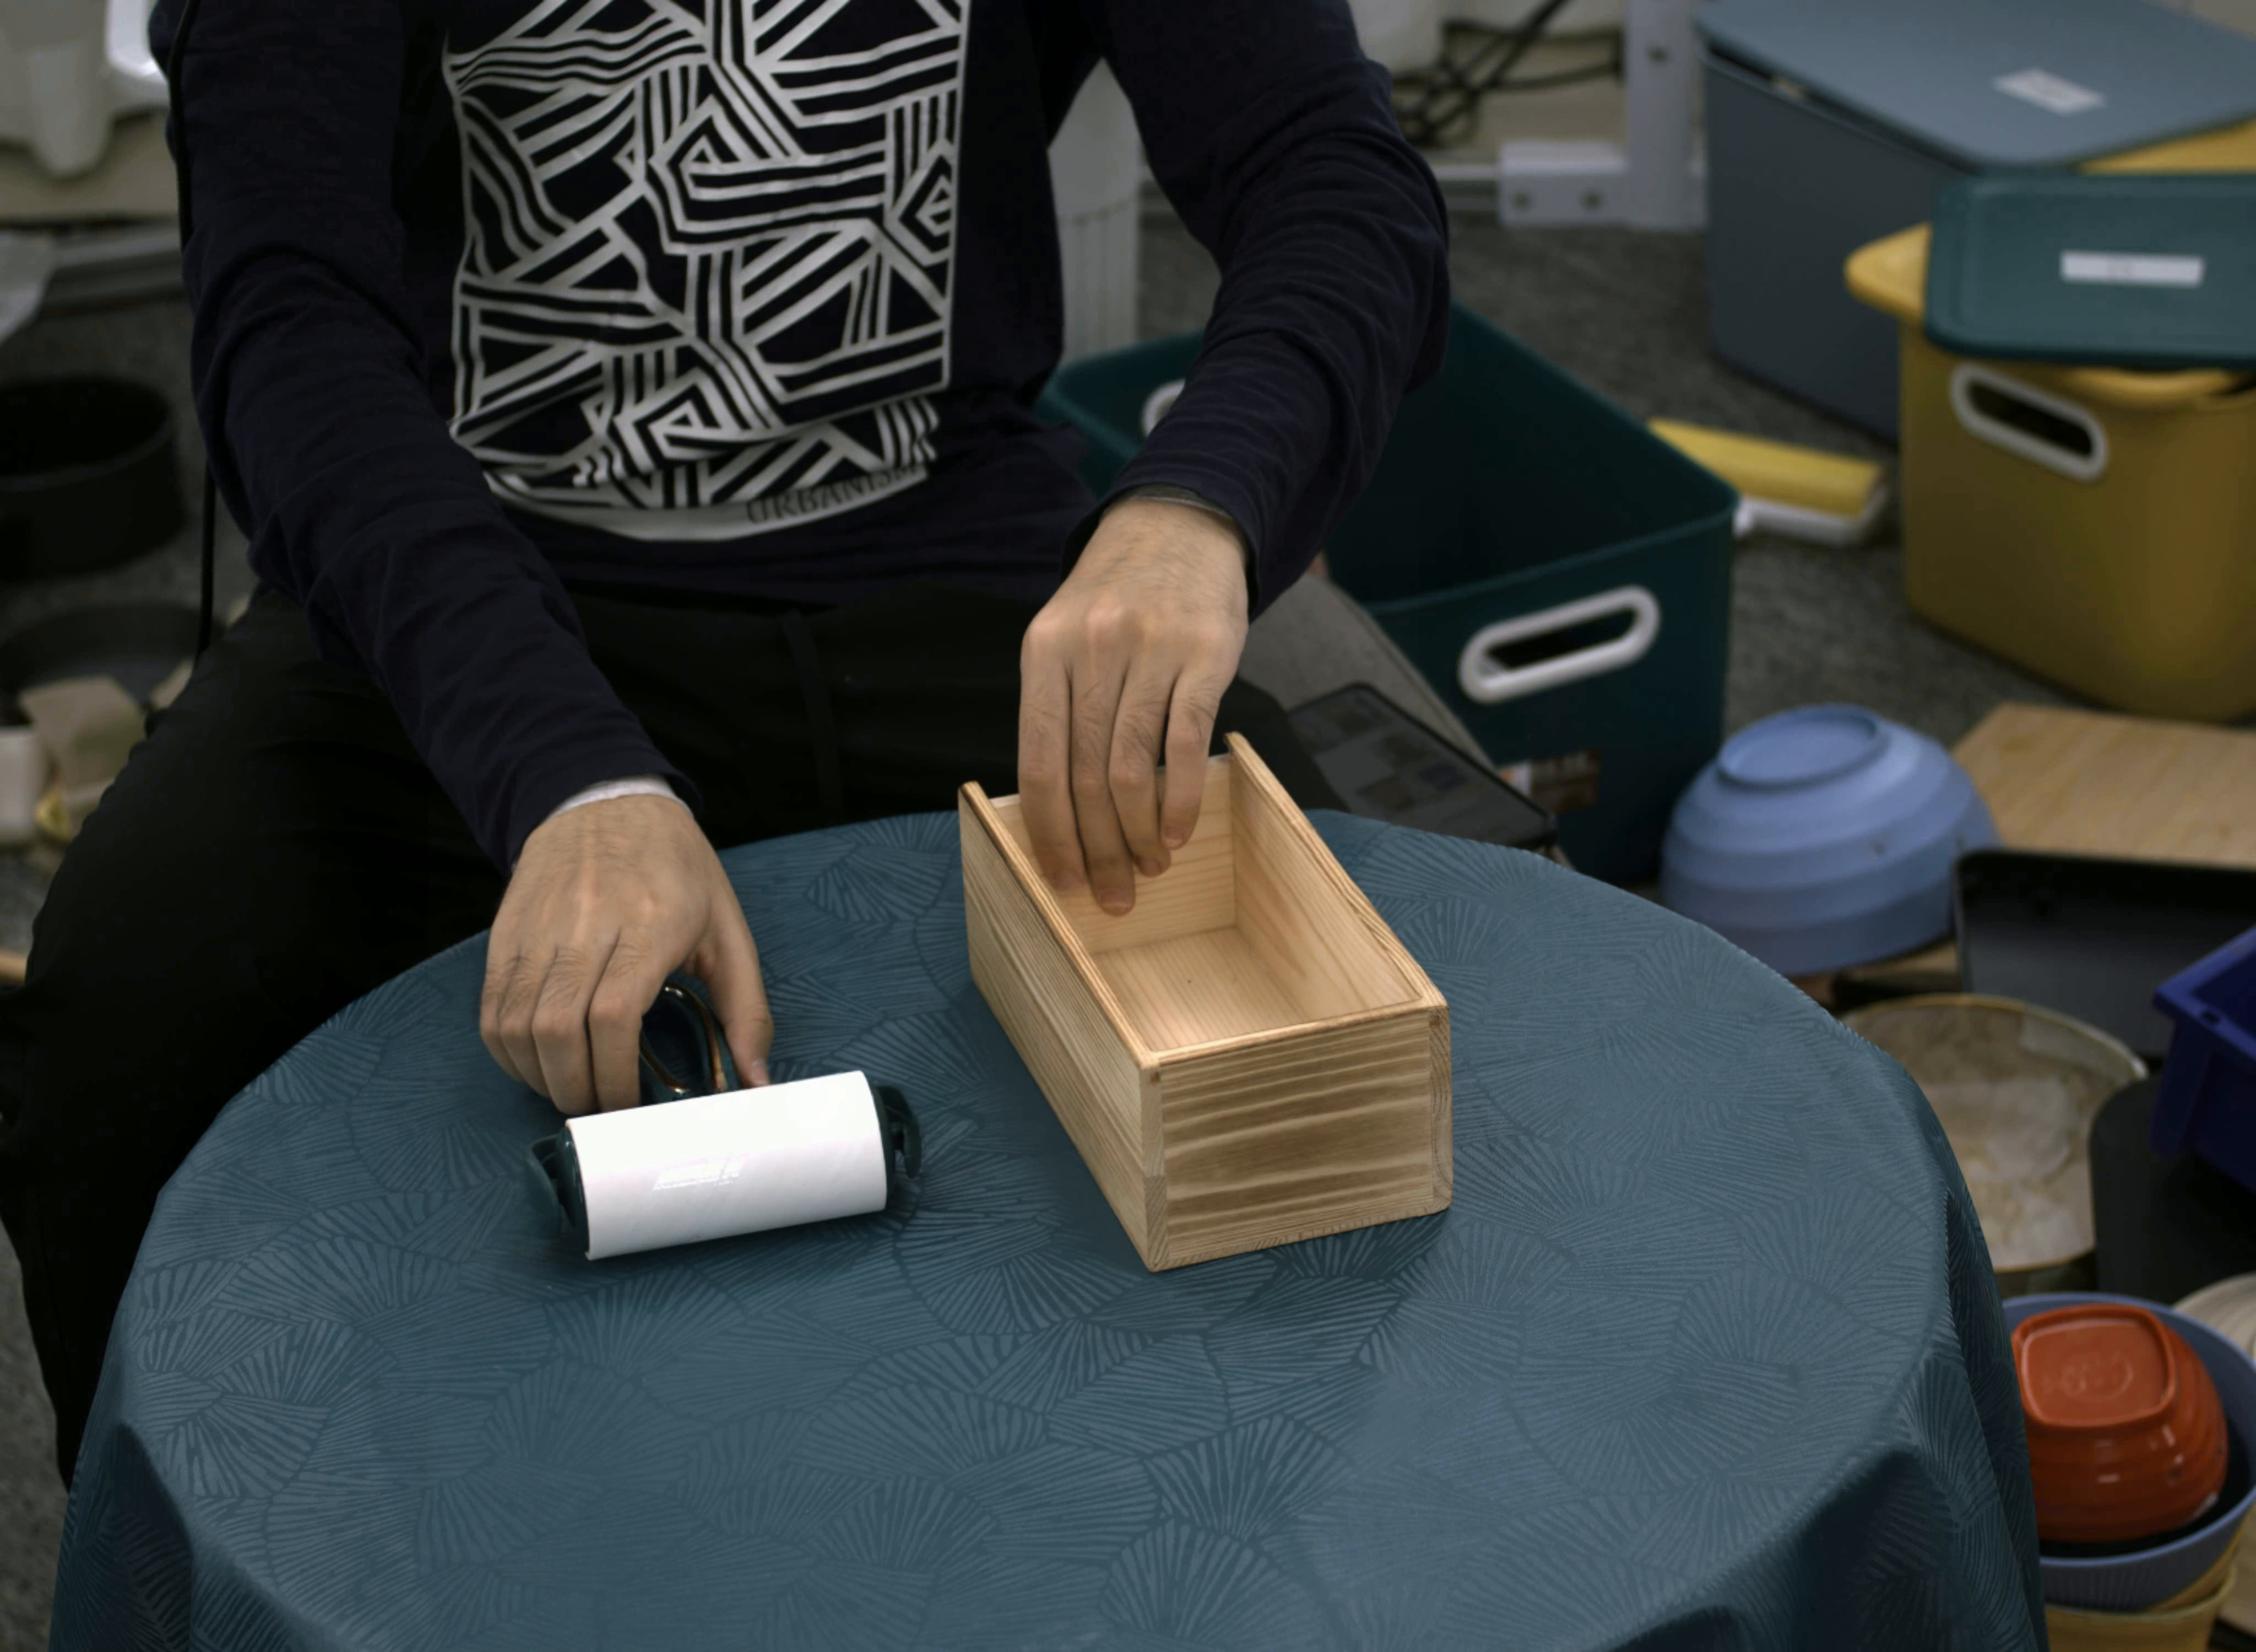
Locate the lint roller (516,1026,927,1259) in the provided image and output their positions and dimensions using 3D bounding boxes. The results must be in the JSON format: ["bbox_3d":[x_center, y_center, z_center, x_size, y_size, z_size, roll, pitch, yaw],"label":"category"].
[{"bbox_3d":[-0.149,0.087,1.902,0.134,0.048,0.181,-9,23,-12],"label":"lint roller"}]

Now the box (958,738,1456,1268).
[{"bbox_3d":[0.024,0.057,1.900,0.107,0.079,0.213,-11,27,-14],"label":"box"}]
